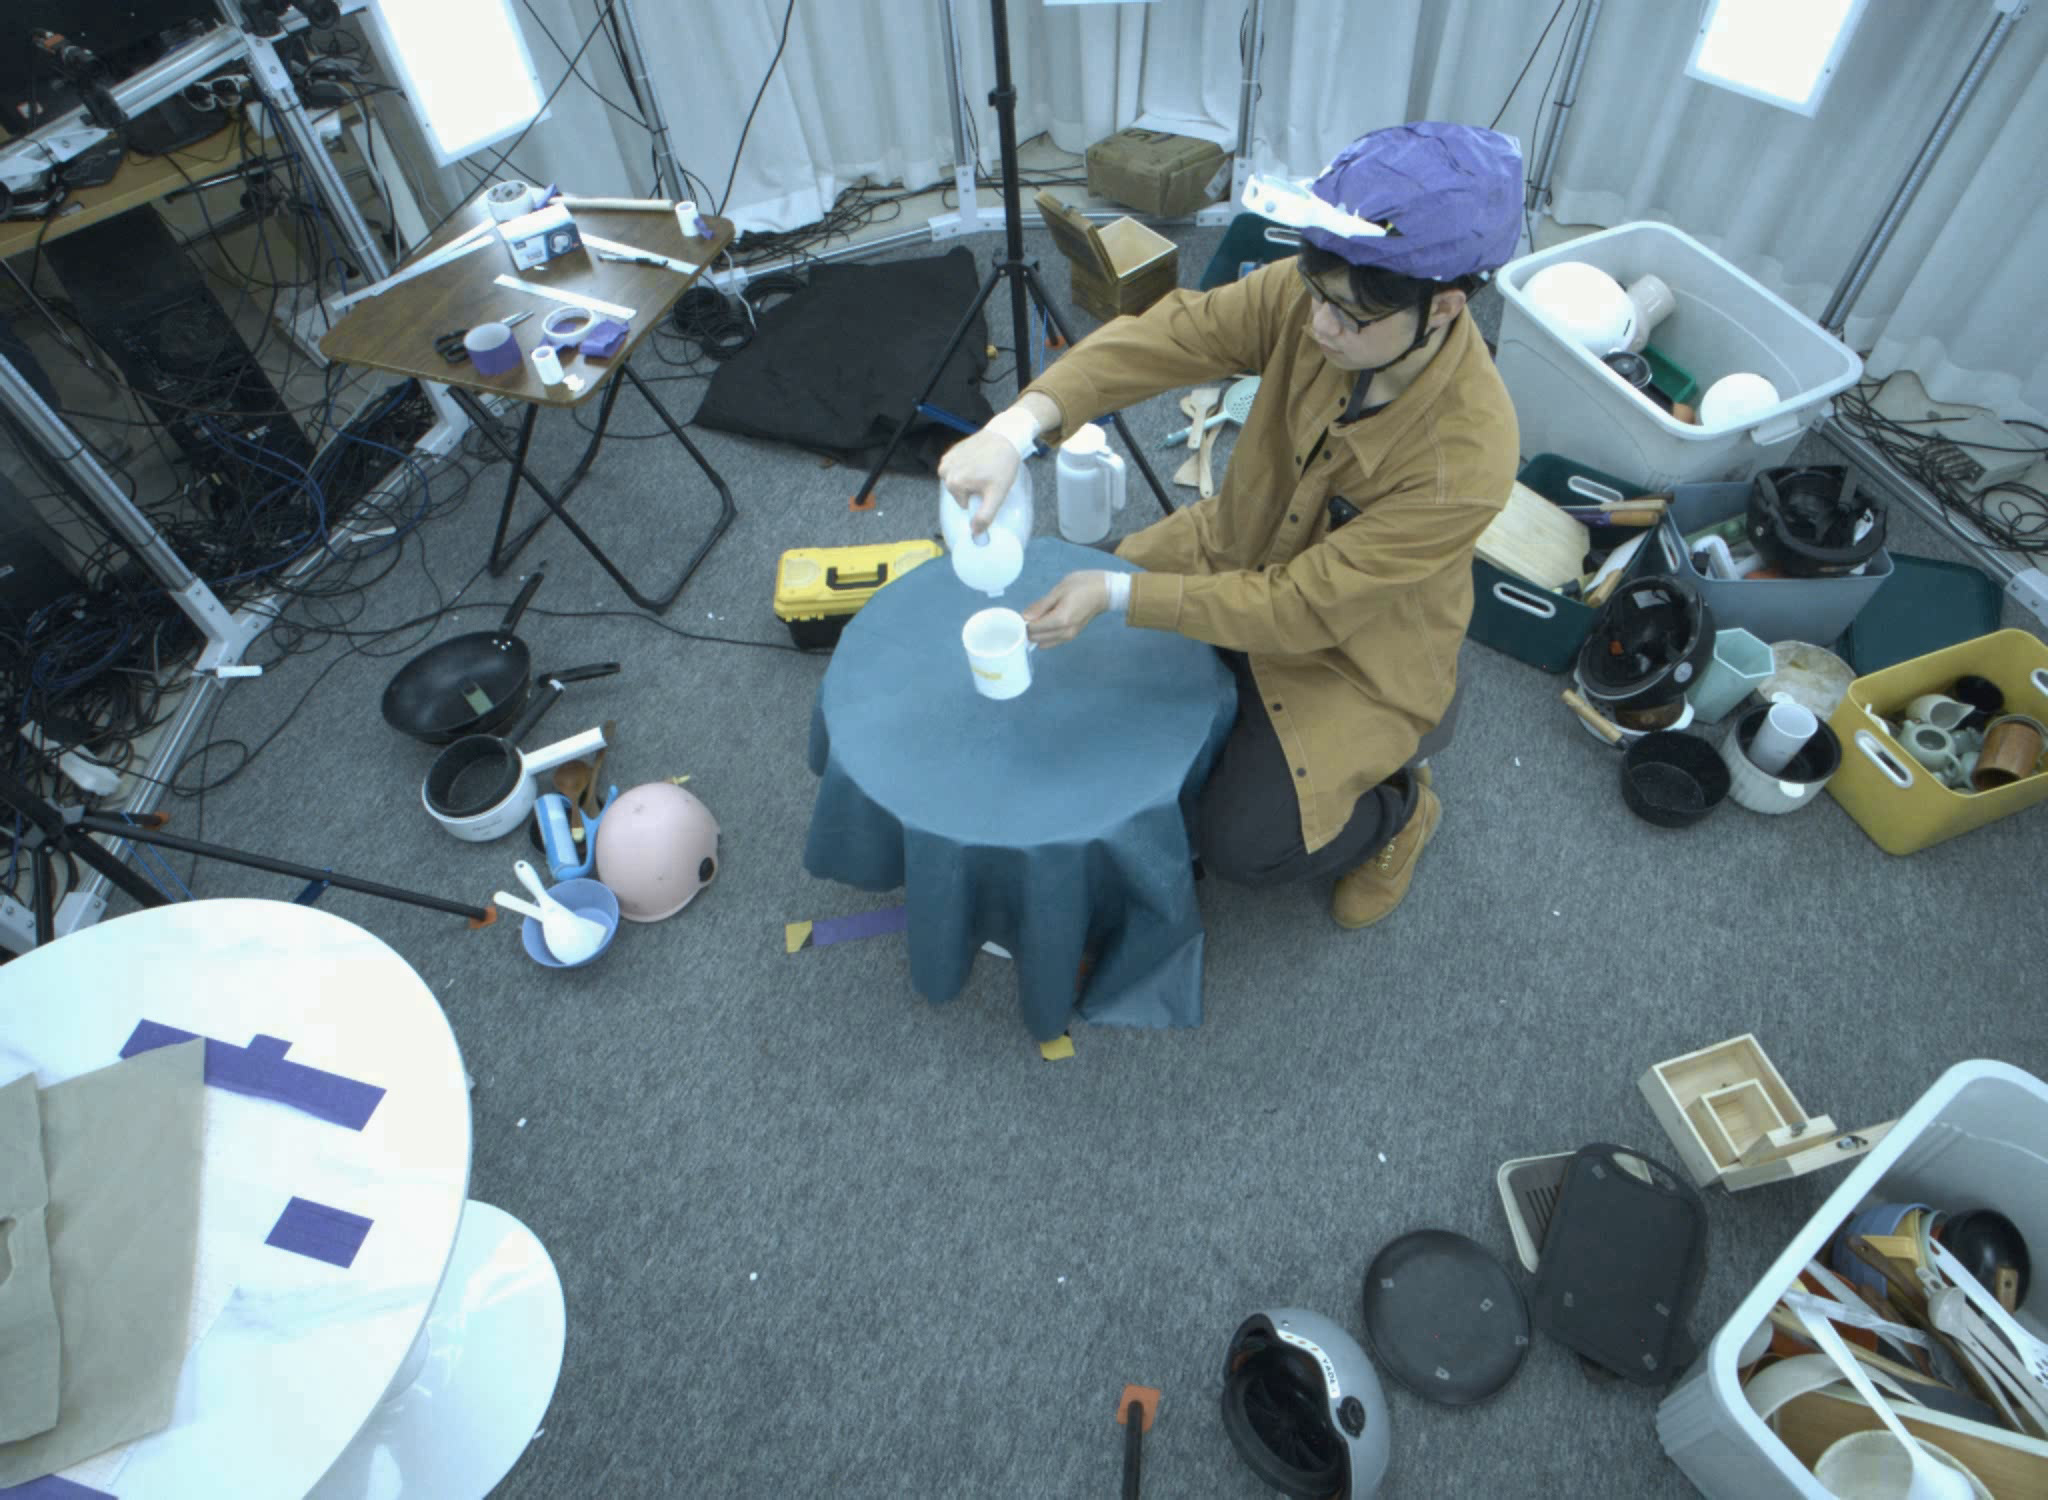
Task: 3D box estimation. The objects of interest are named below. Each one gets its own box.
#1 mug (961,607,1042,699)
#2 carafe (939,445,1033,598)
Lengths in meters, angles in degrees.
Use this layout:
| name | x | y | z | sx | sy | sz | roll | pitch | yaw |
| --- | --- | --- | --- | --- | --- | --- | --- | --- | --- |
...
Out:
| name | x | y | z | sx | sy | sz | roll | pitch | yaw |
| --- | --- | --- | --- | --- | --- | --- | --- | --- | --- |
| mug | -0.024 | -0.140 | 1.685 | 0.119 | 0.103 | 0.083 | -40 | 59 | -17 |
| carafe | -0.057 | -0.323 | 1.638 | 0.132 | 0.170 | 0.245 | -10 | 35 | 5 |
